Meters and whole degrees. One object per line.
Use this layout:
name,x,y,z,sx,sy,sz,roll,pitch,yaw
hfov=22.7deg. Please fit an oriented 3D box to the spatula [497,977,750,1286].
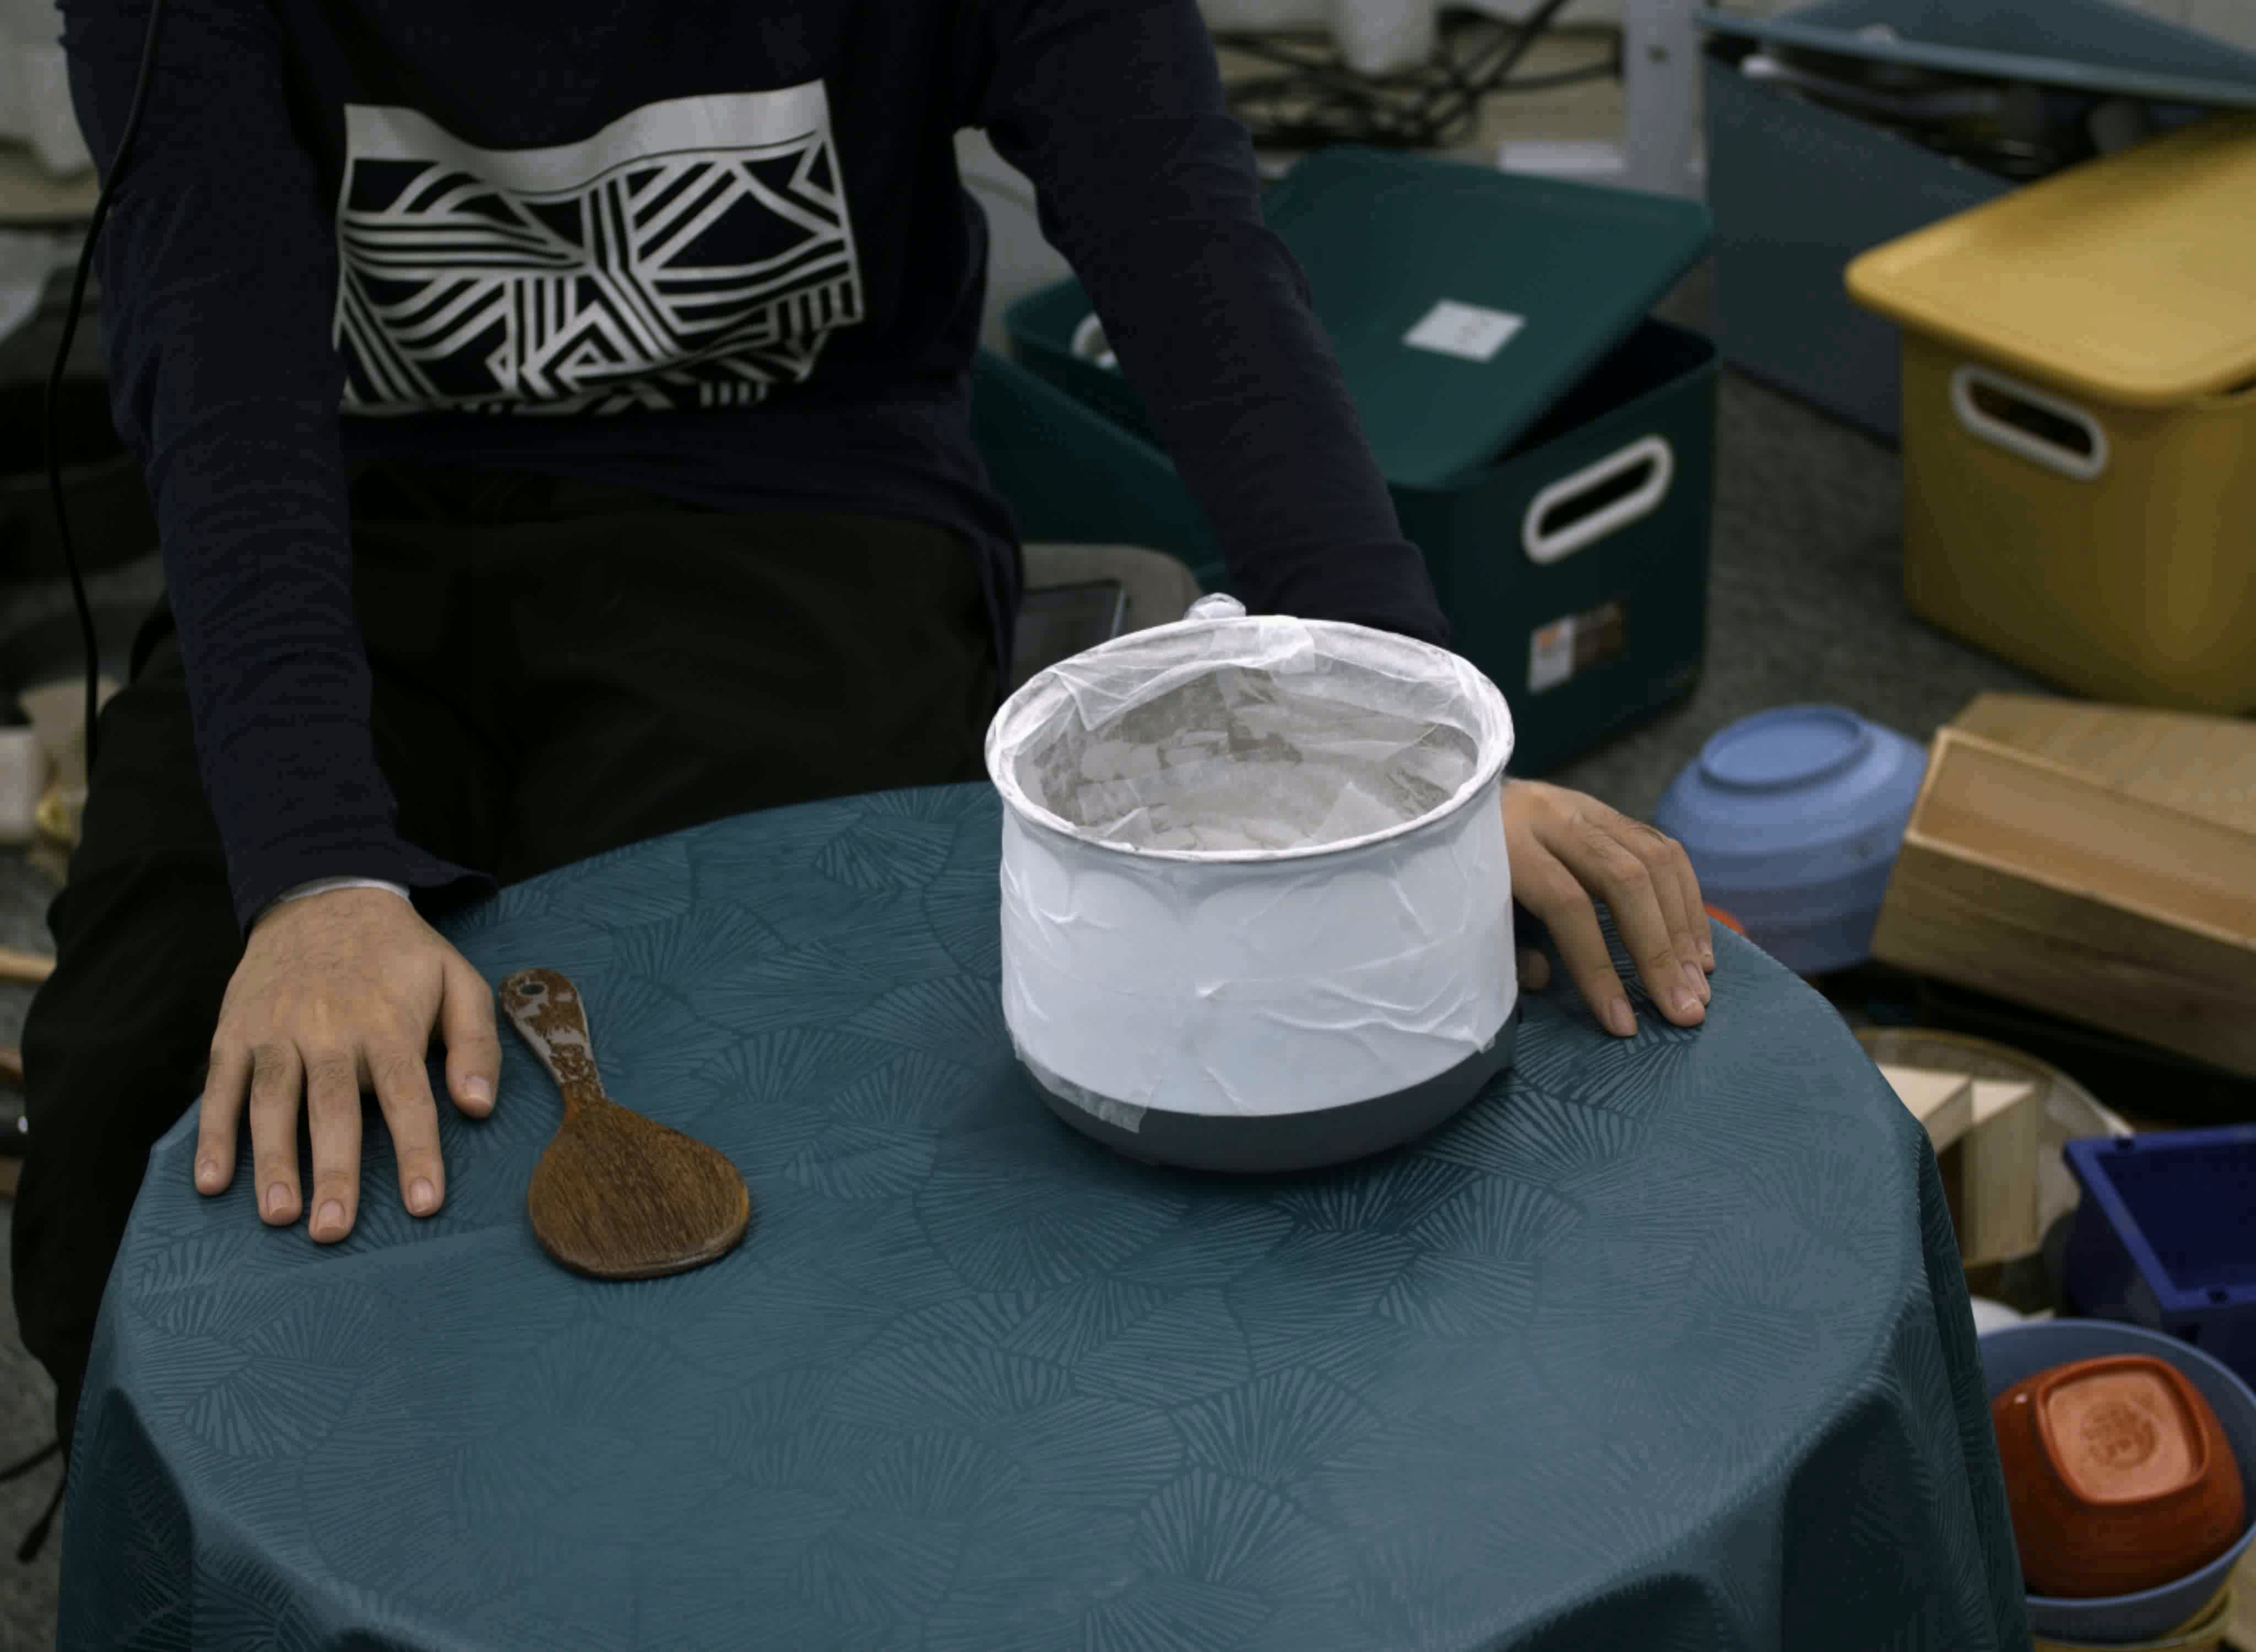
spatula,-0.182,0.100,1.916,0.072,0.009,0.217,-9,27,-15

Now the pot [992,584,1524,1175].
pot,0.040,0.011,1.921,0.178,0.135,0.237,-3,28,-7
